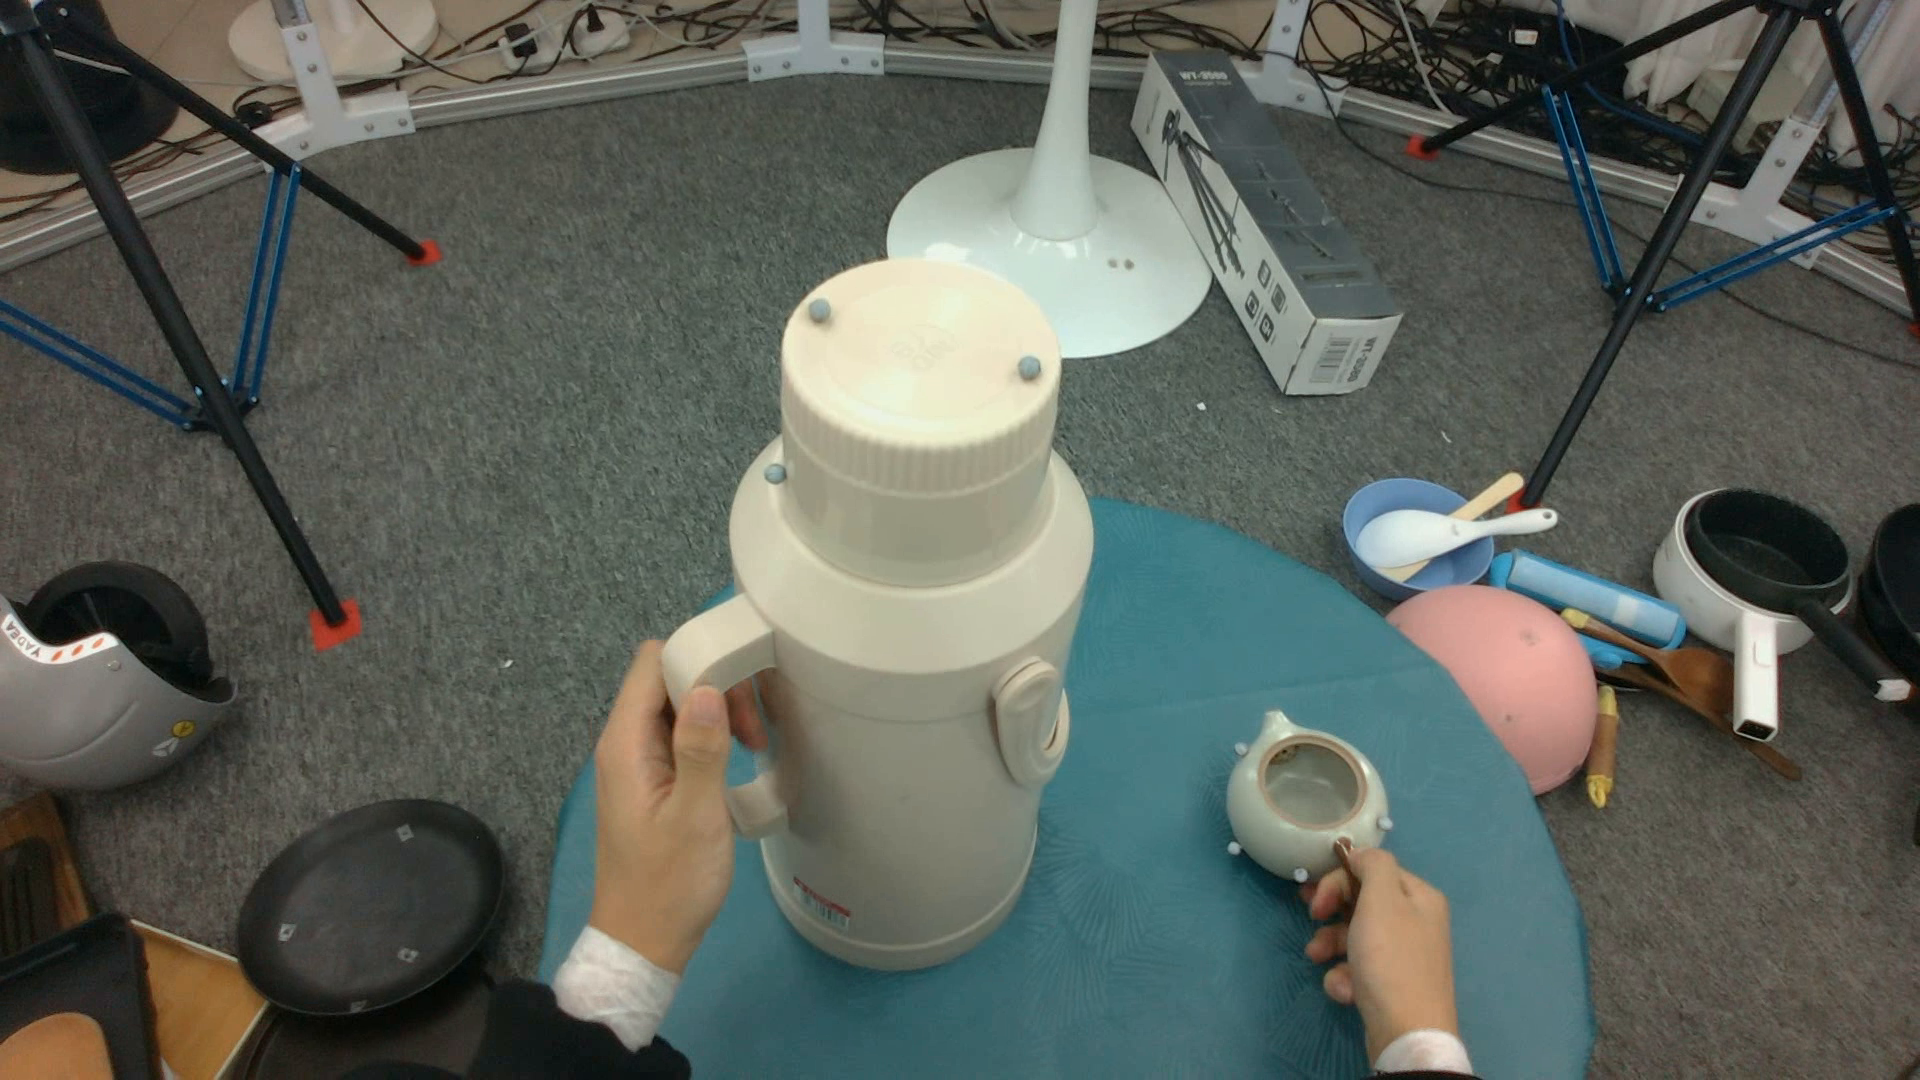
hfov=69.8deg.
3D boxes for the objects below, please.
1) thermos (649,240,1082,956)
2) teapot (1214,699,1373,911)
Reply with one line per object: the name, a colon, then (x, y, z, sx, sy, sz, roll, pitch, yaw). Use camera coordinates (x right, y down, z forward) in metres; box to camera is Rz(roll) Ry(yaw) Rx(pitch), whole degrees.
thermos: (-0.044, 0.053, 0.657, 0.208, 0.404, 0.175, -29, 60, -26)
teapot: (0.199, 0.156, 0.806, 0.092, 0.059, 0.128, -14, 51, -11)
